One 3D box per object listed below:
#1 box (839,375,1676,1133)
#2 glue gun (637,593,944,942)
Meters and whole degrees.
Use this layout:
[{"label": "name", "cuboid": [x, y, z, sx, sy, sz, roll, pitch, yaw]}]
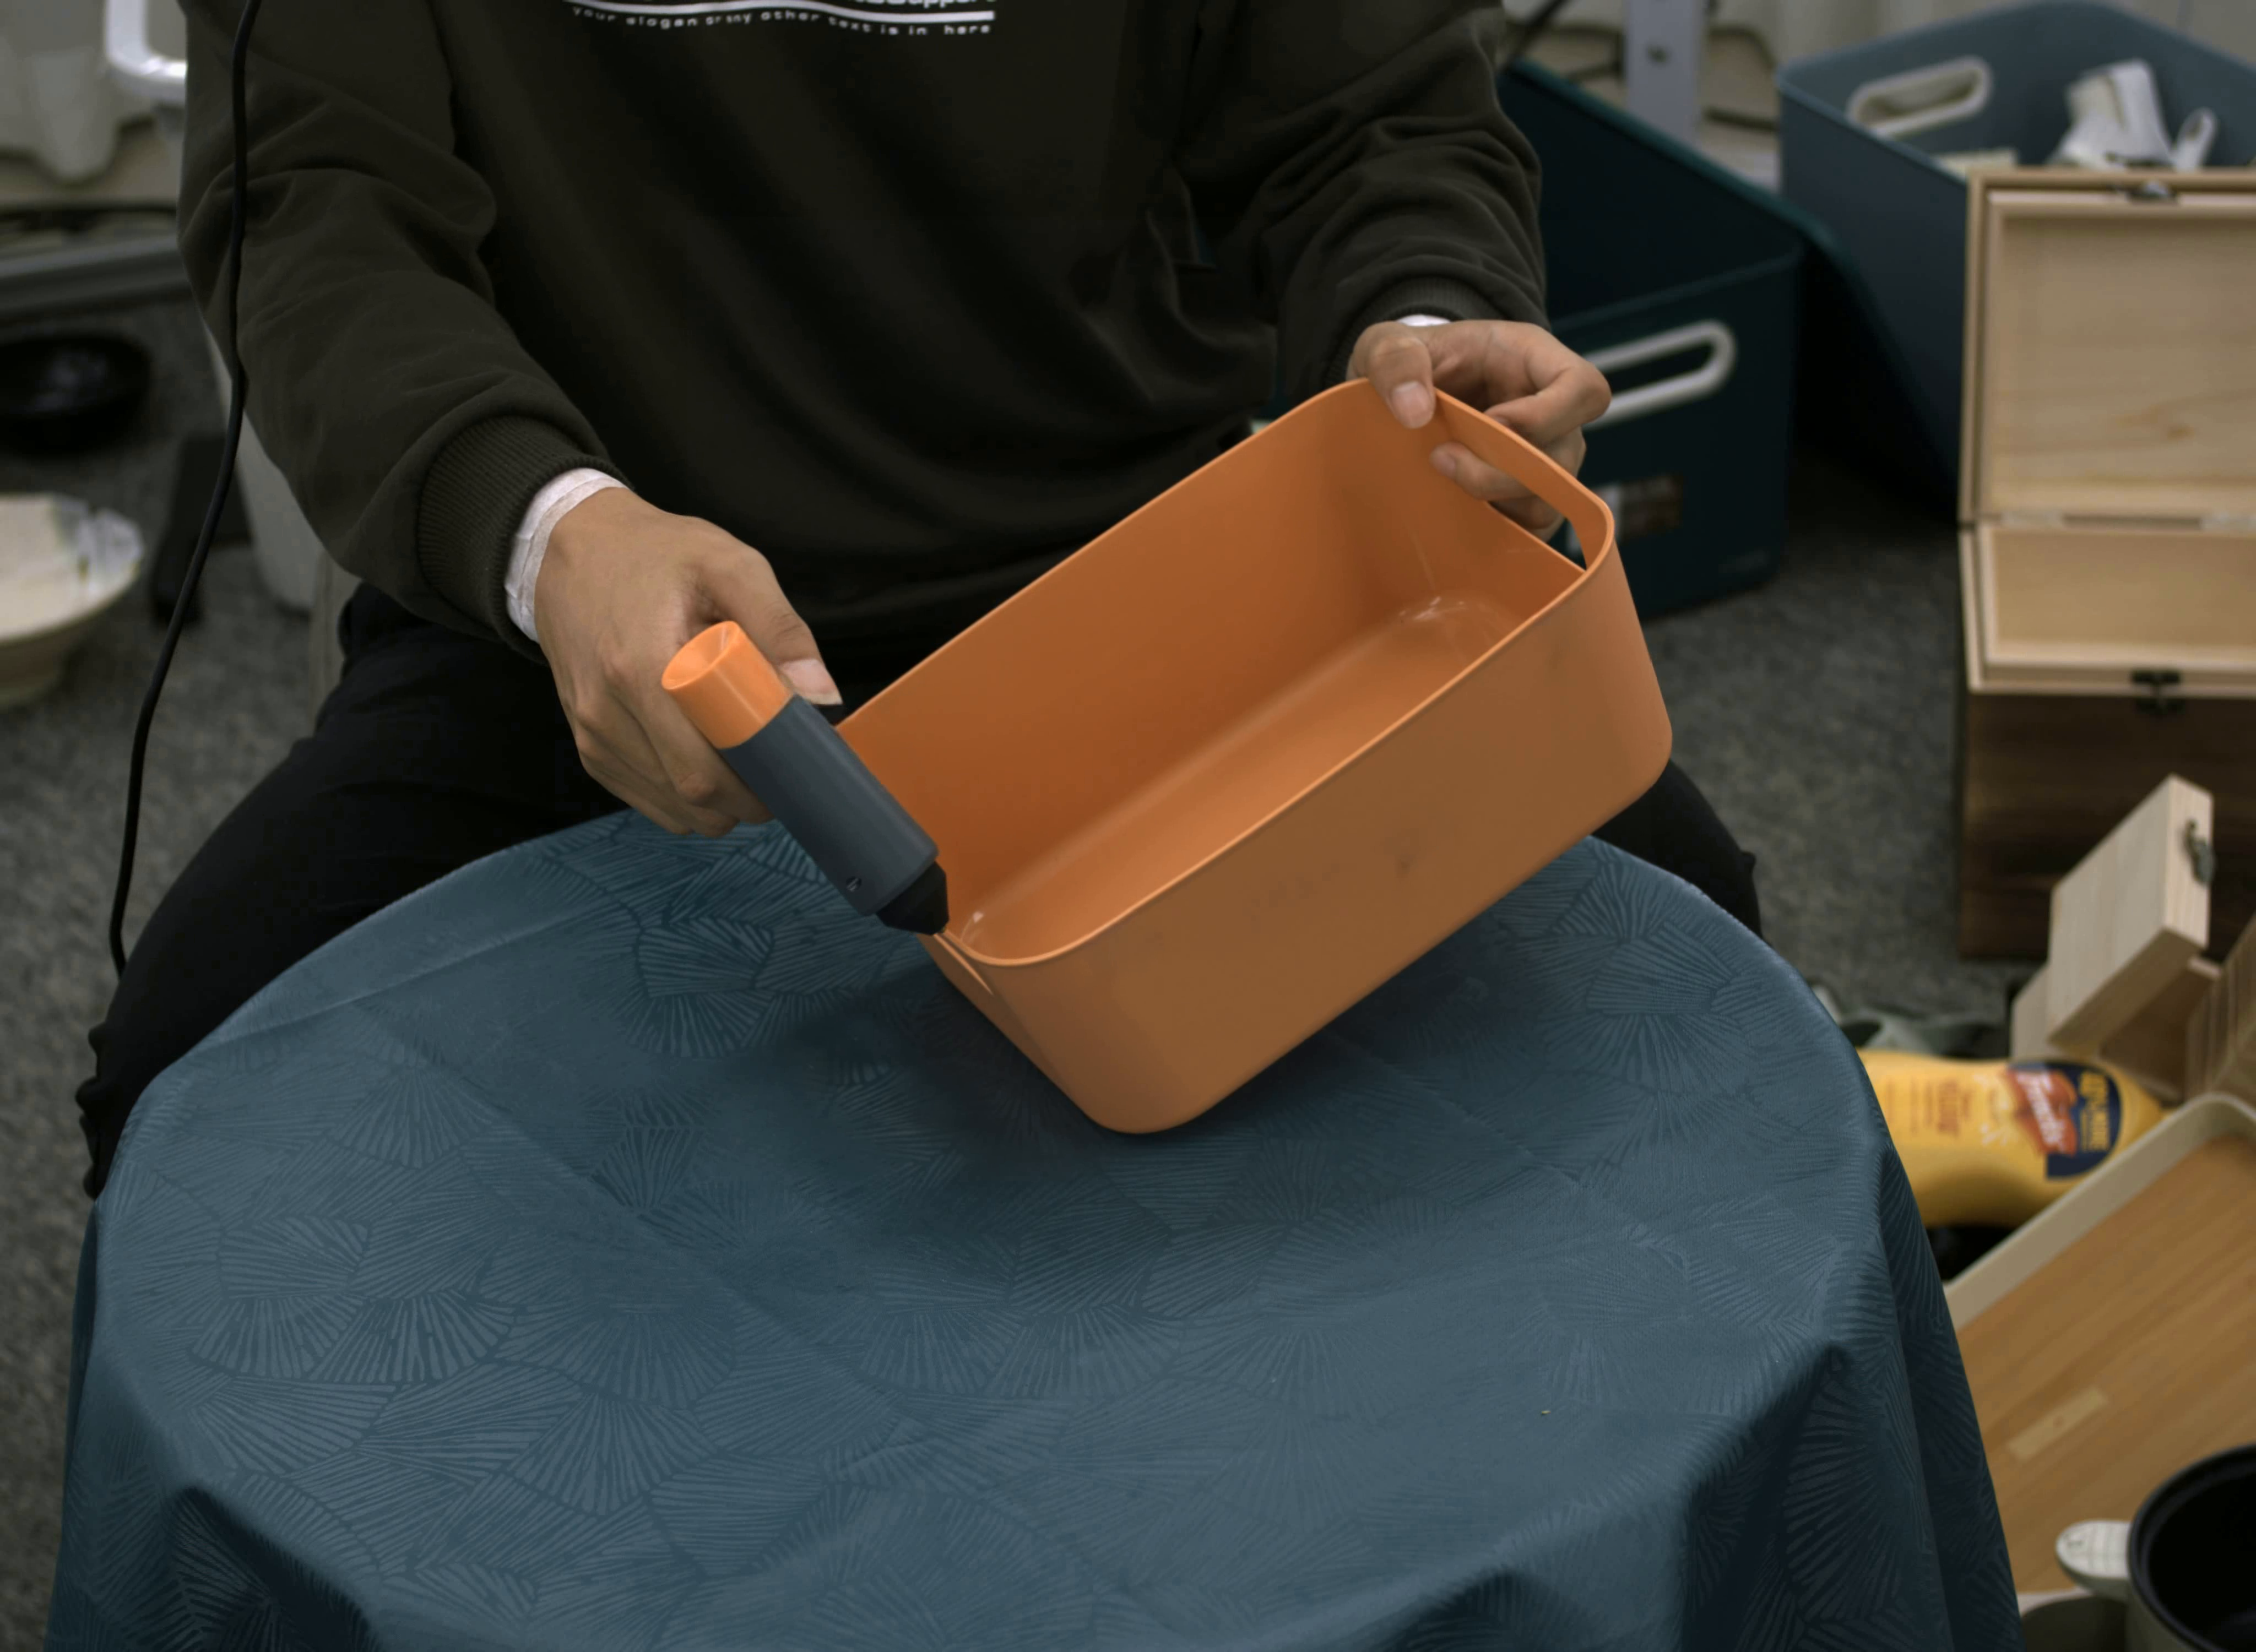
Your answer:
[{"label": "box", "cuboid": [0.045, -0.023, 1.951, 0.274, 0.101, 0.200, -36, 35, -12]}, {"label": "glue gun", "cuboid": [-0.113, -0.022, 1.874, 0.041, 0.117, 0.140, -40, 24, -3]}]
